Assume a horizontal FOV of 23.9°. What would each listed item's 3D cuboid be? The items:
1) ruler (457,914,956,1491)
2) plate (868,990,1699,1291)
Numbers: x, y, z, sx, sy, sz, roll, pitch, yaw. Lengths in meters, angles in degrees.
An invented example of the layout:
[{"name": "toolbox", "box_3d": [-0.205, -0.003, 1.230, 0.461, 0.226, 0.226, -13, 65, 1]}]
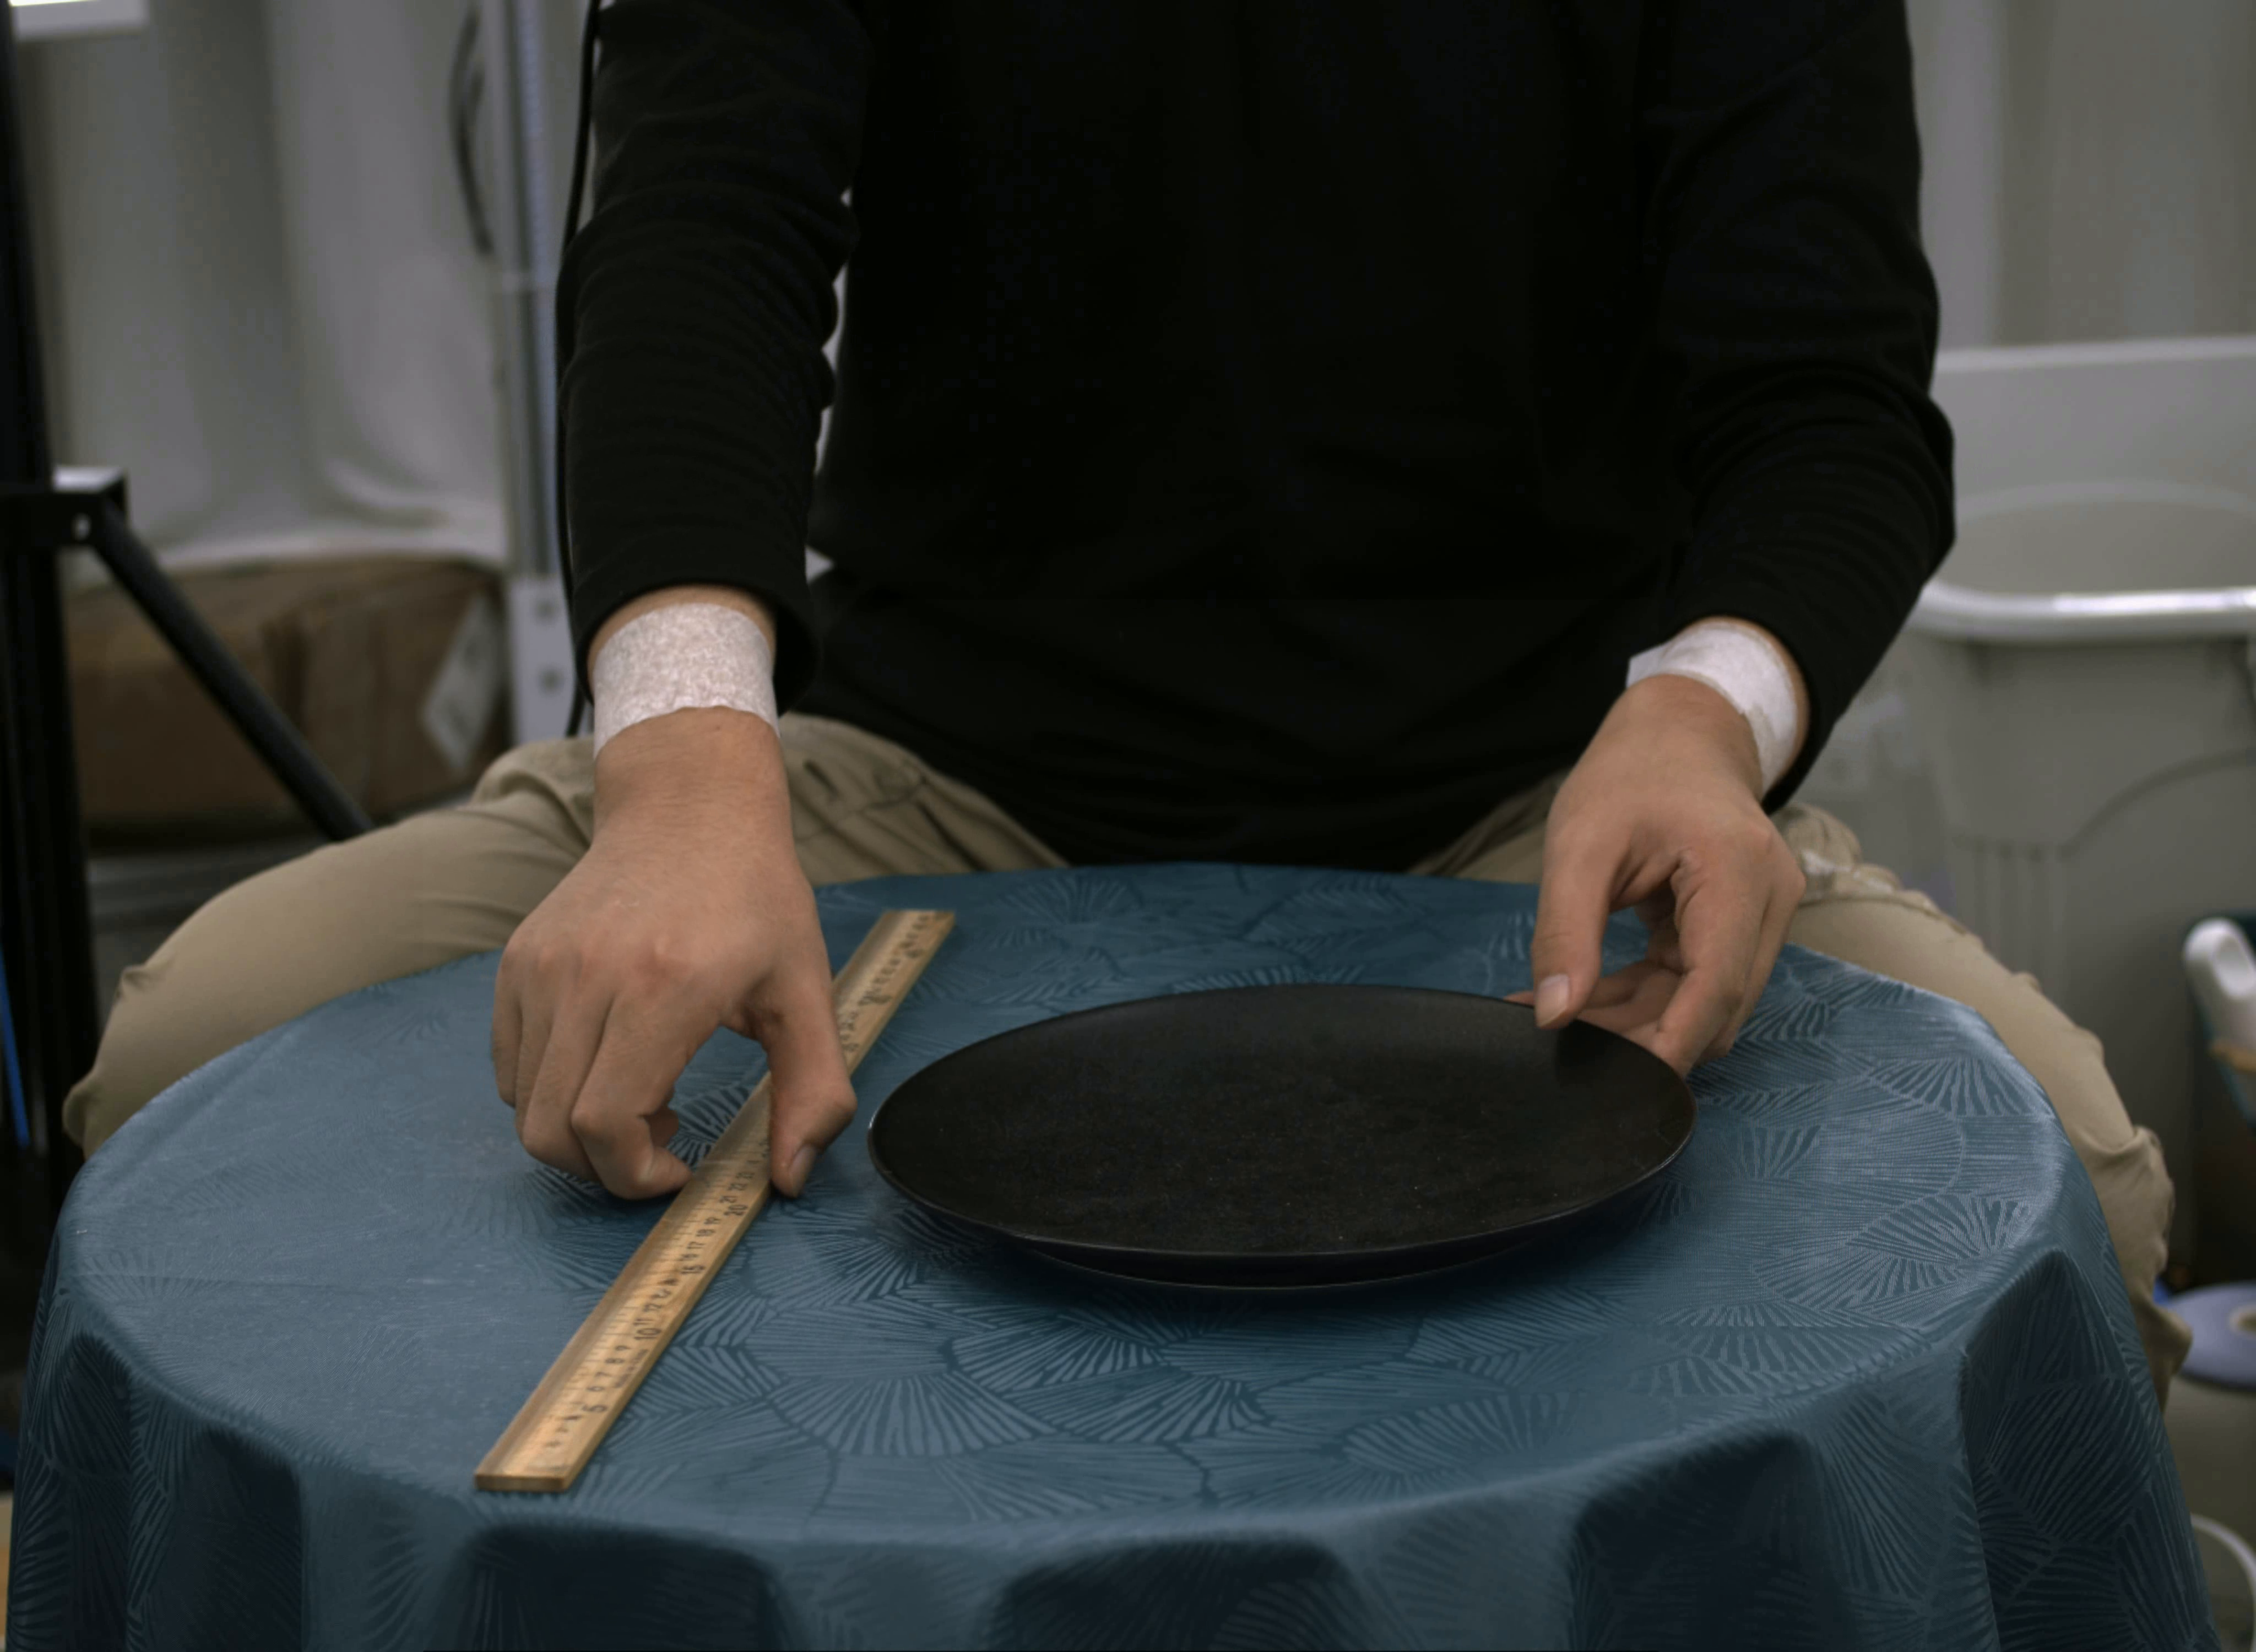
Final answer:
[{"name": "ruler", "box_3d": [-0.114, 0.100, 1.595, 0.027, 0.006, 0.498, 5, 17, 9]}, {"name": "plate", "box_3d": [0.046, 0.094, 1.555, 0.243, 0.023, 0.245, -3, 15, -1]}]
